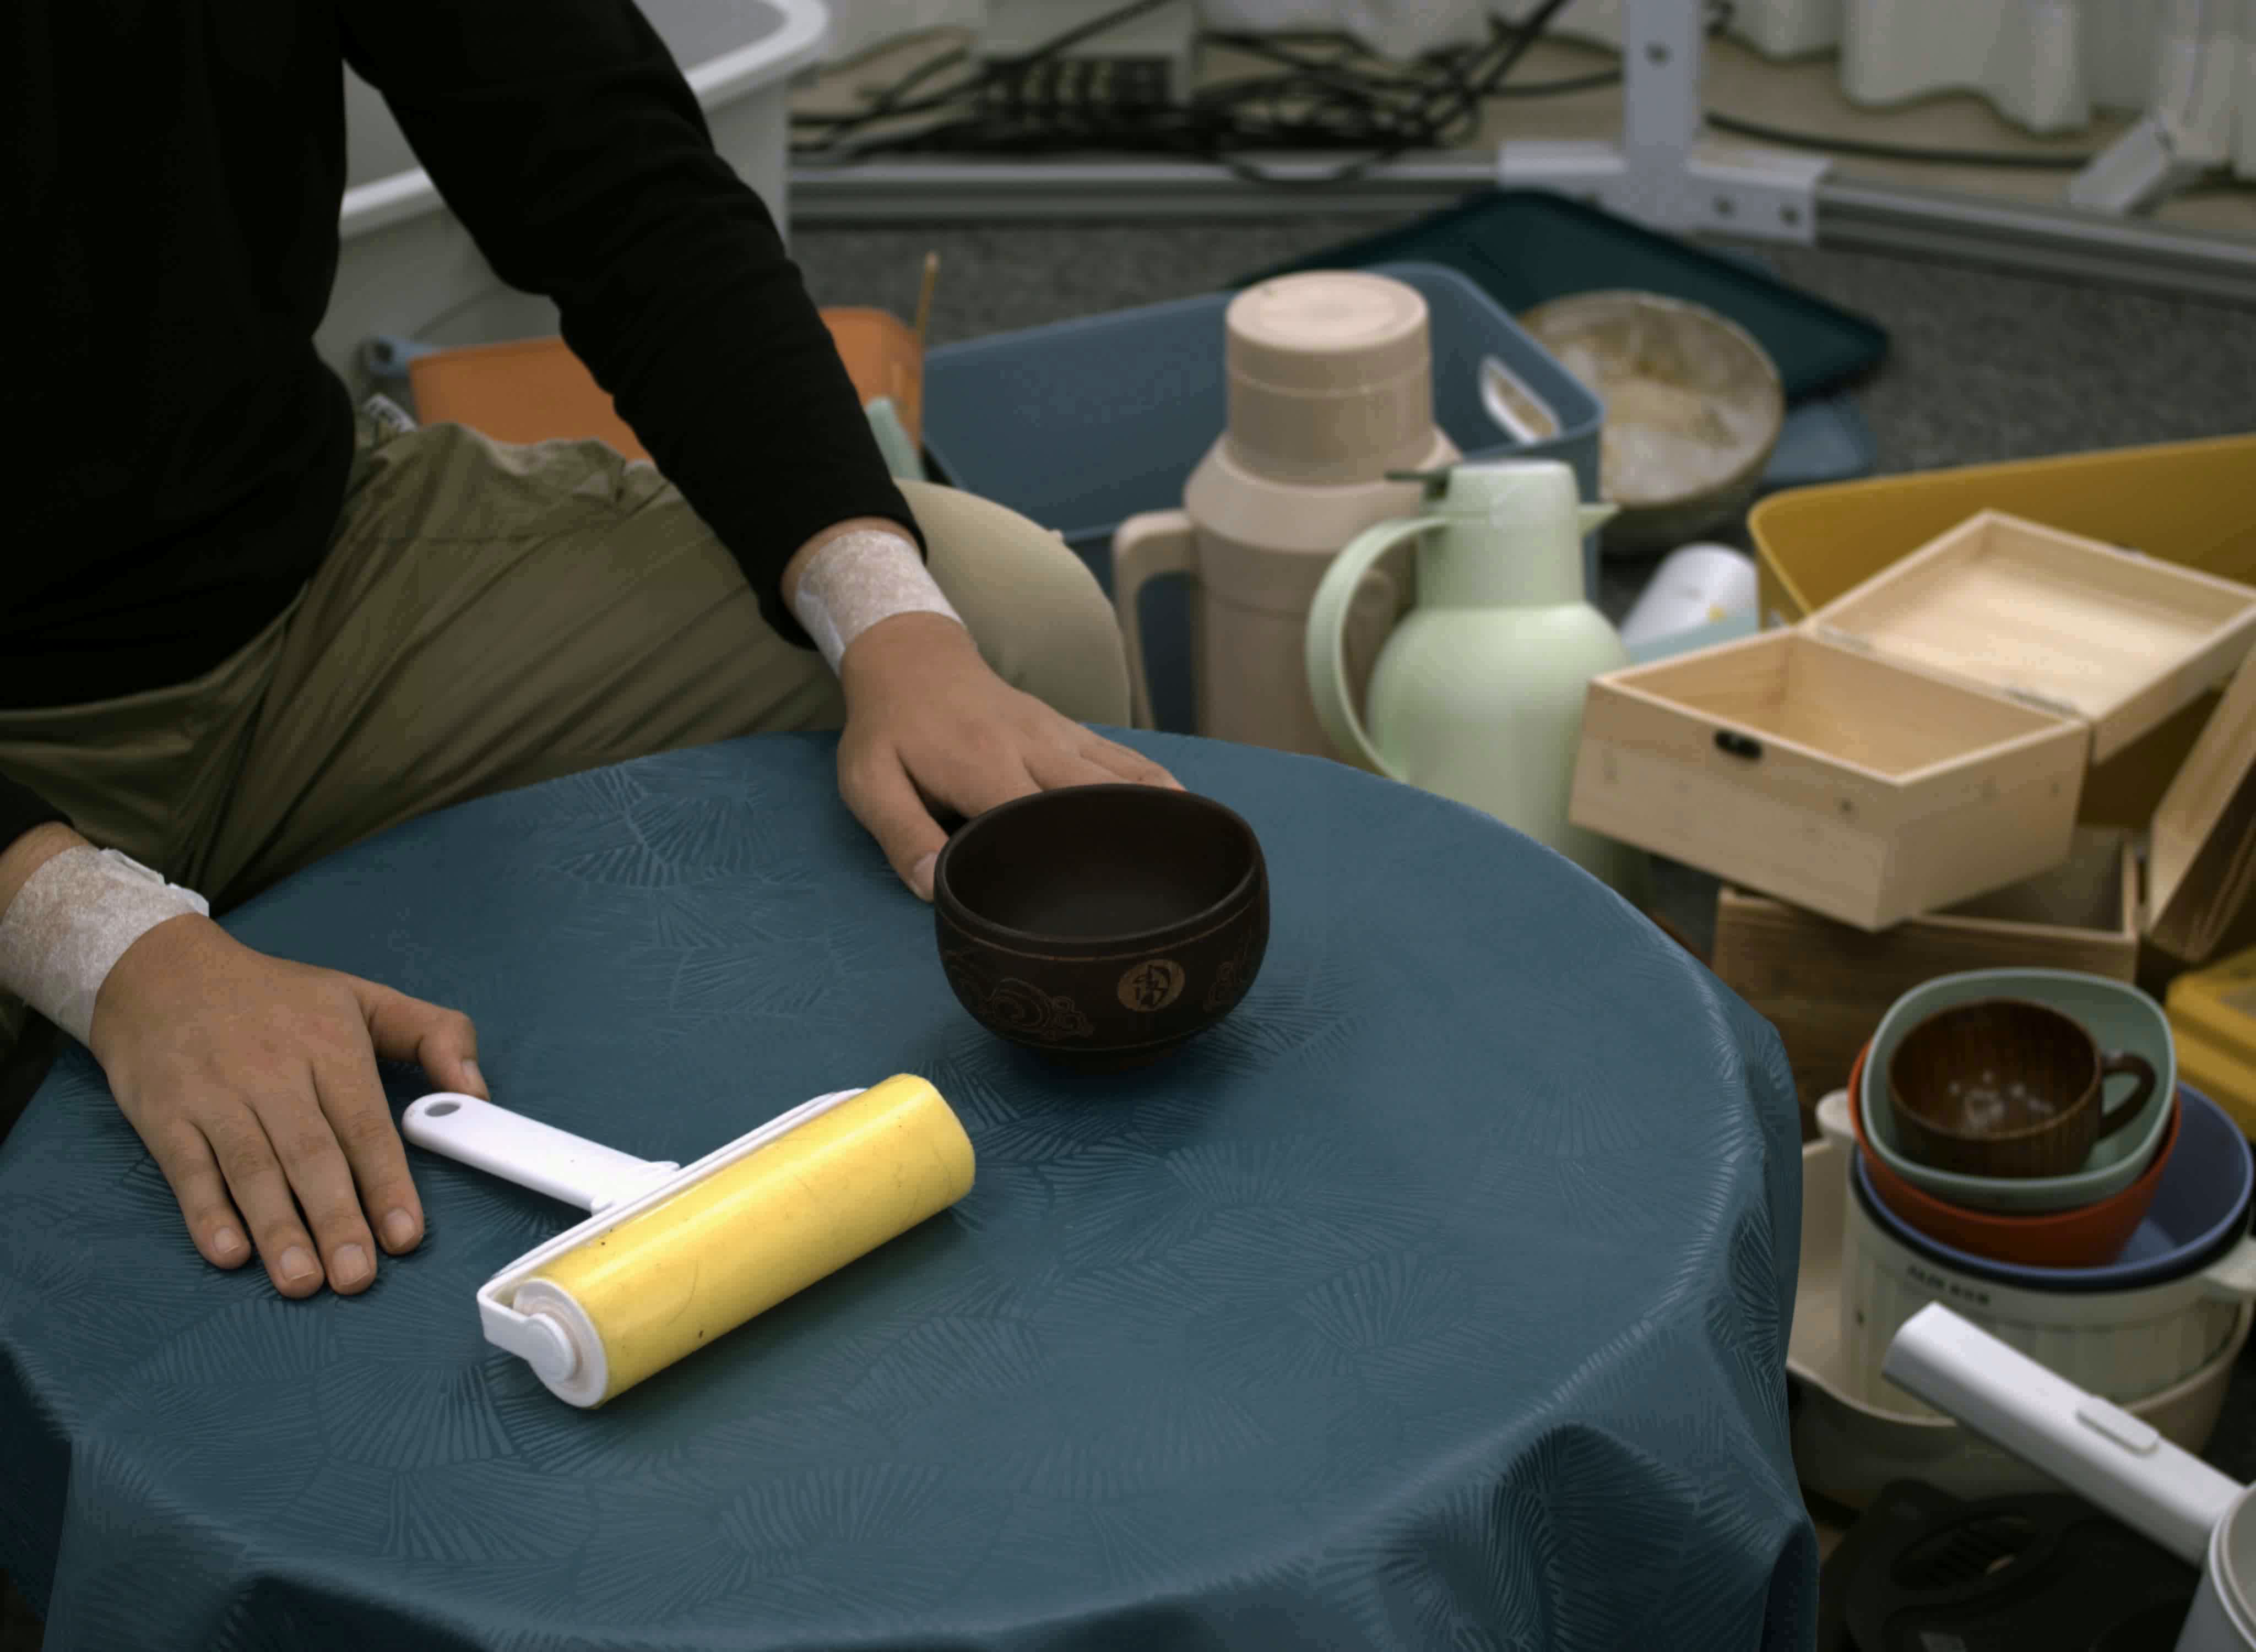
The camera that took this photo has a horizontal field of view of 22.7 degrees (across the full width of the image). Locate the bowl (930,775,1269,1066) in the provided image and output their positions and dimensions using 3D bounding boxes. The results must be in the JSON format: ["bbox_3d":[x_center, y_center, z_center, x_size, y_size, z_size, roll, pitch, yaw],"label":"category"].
[{"bbox_3d":[-0.009,0.039,1.941,0.117,0.069,0.120,-1,27,1],"label":"bowl"}]

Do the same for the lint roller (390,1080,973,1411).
[{"bbox_3d":[-0.175,0.111,1.844,0.192,0.051,0.176,25,37,35],"label":"lint roller"}]
